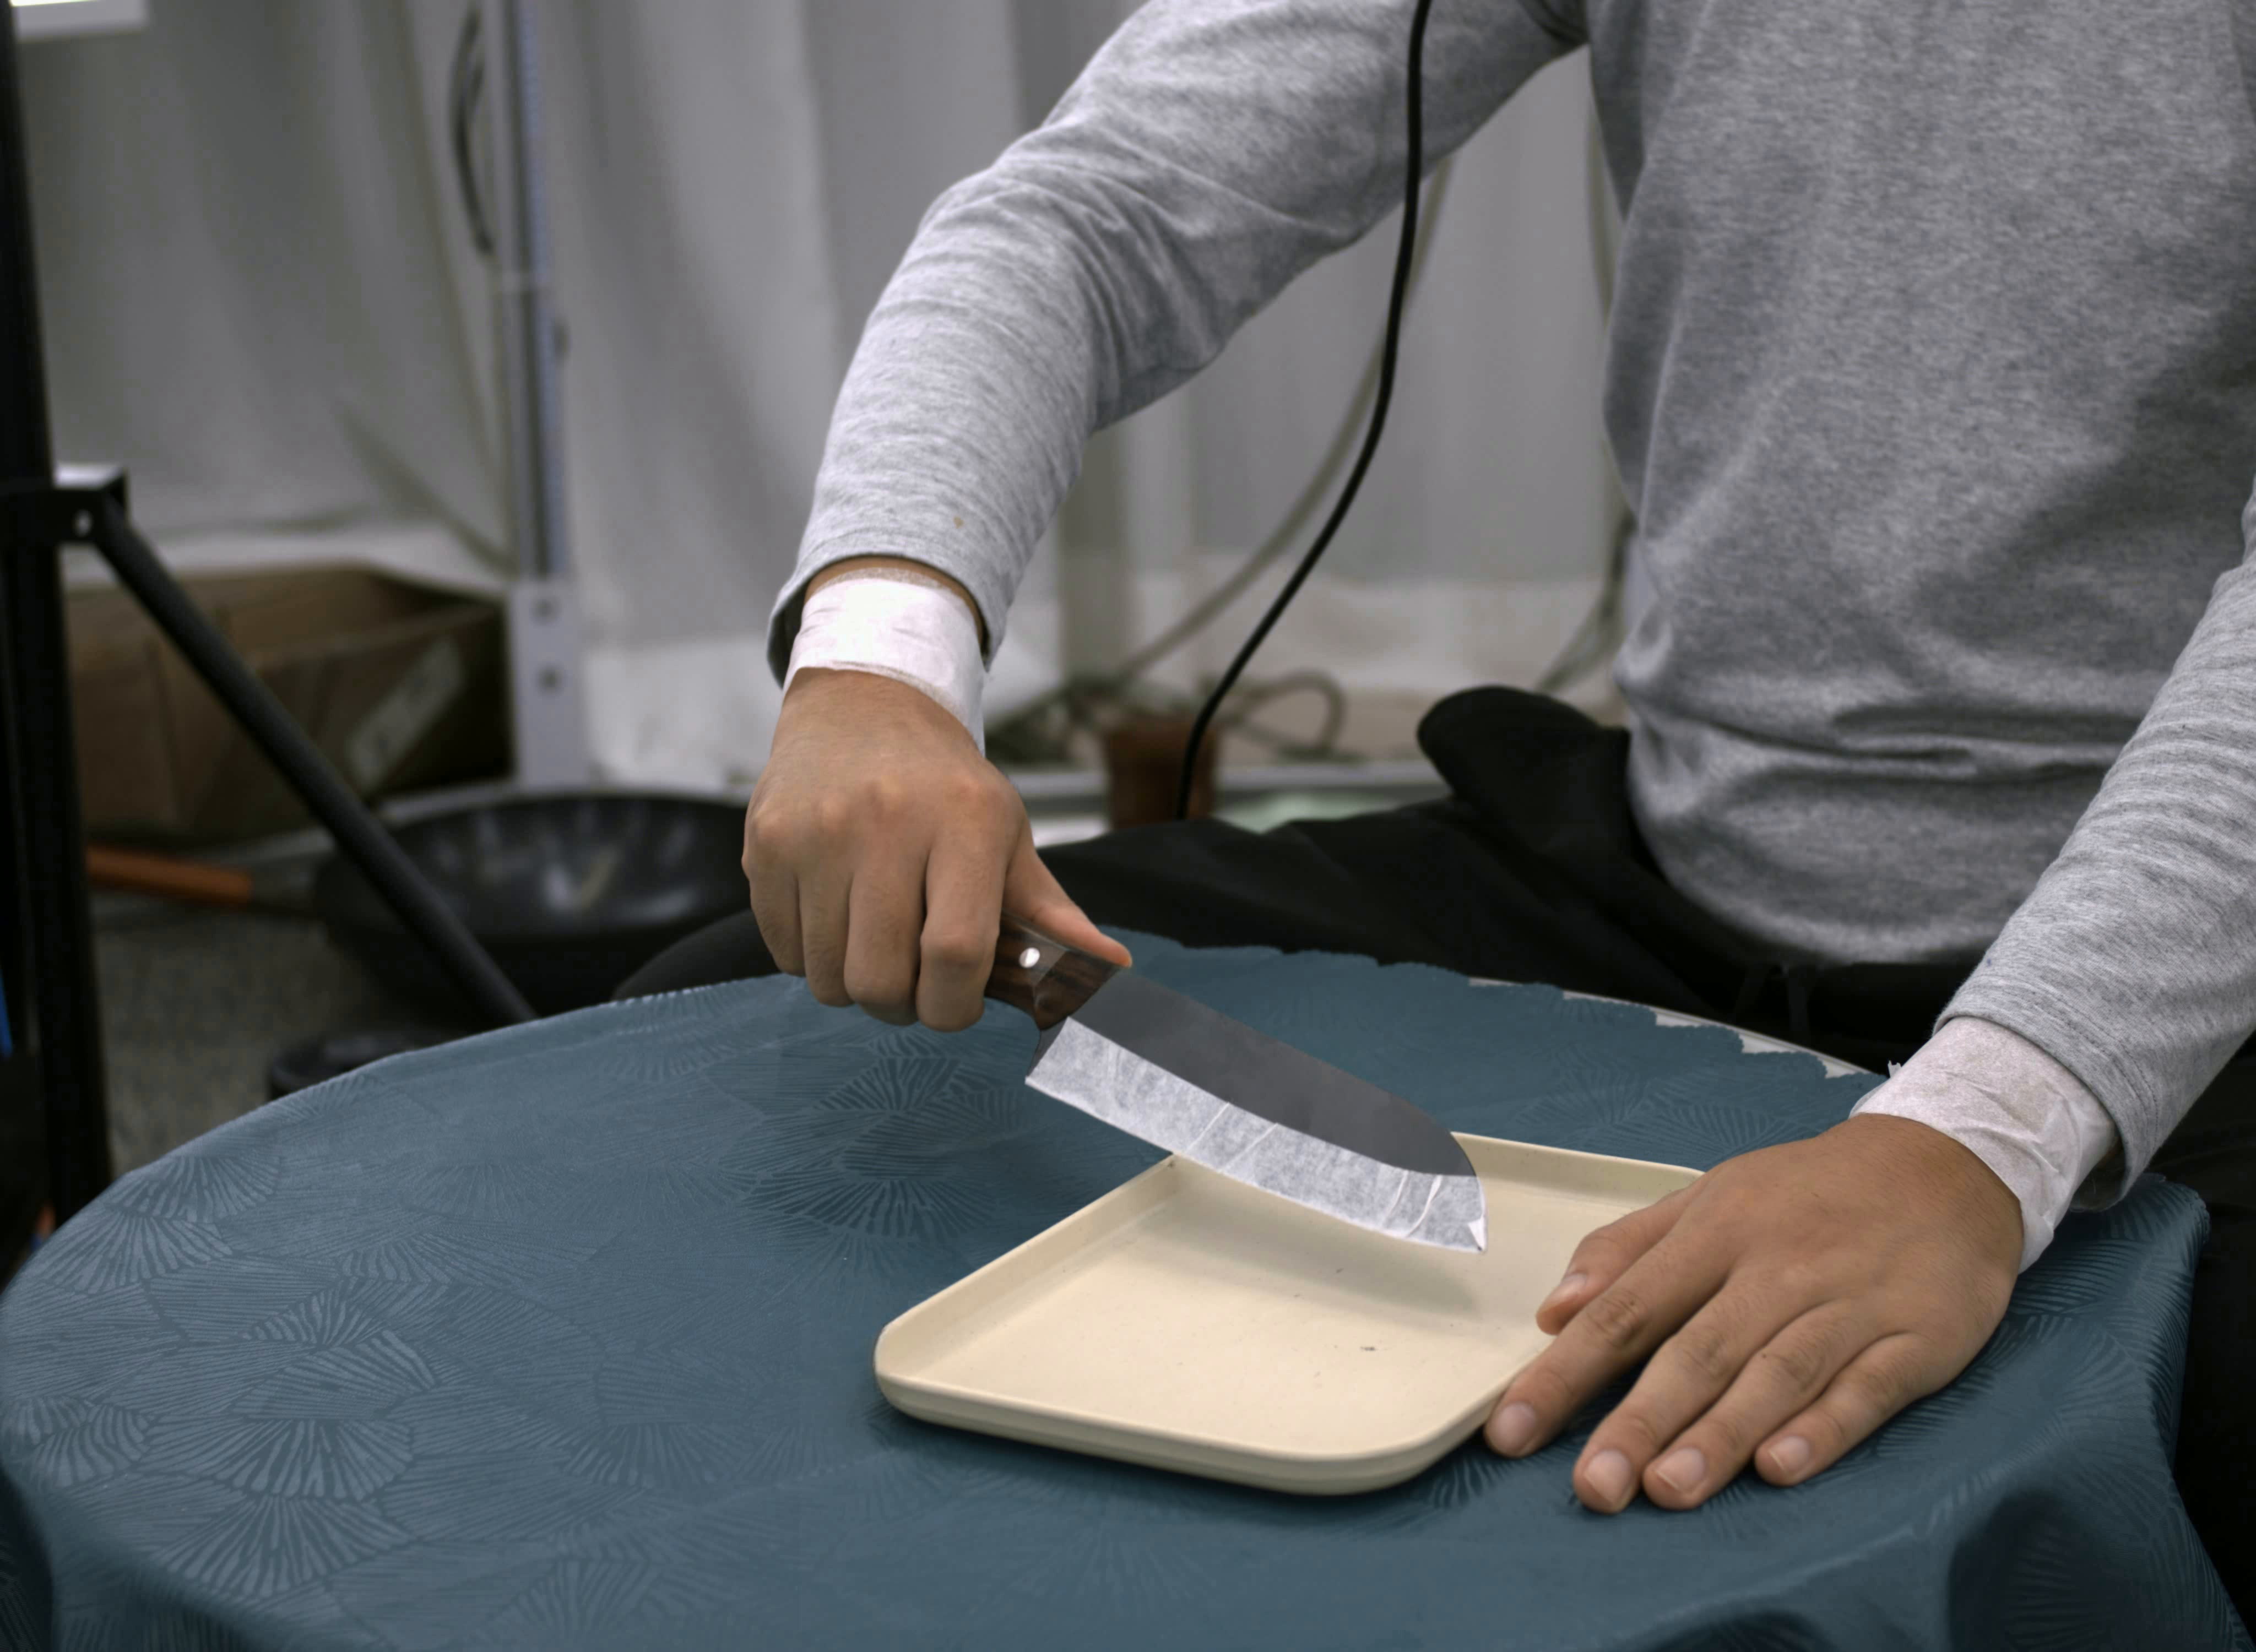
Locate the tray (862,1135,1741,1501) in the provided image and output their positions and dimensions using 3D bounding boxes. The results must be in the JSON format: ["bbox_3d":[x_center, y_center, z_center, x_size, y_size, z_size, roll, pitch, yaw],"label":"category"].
[{"bbox_3d":[0.051,0.129,1.448,0.174,0.017,0.235,8,18,32],"label":"tray"}]

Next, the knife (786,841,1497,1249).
[{"bbox_3d":[0.000,0.061,1.528,0.296,0.019,0.050,26,75,41],"label":"knife"}]
